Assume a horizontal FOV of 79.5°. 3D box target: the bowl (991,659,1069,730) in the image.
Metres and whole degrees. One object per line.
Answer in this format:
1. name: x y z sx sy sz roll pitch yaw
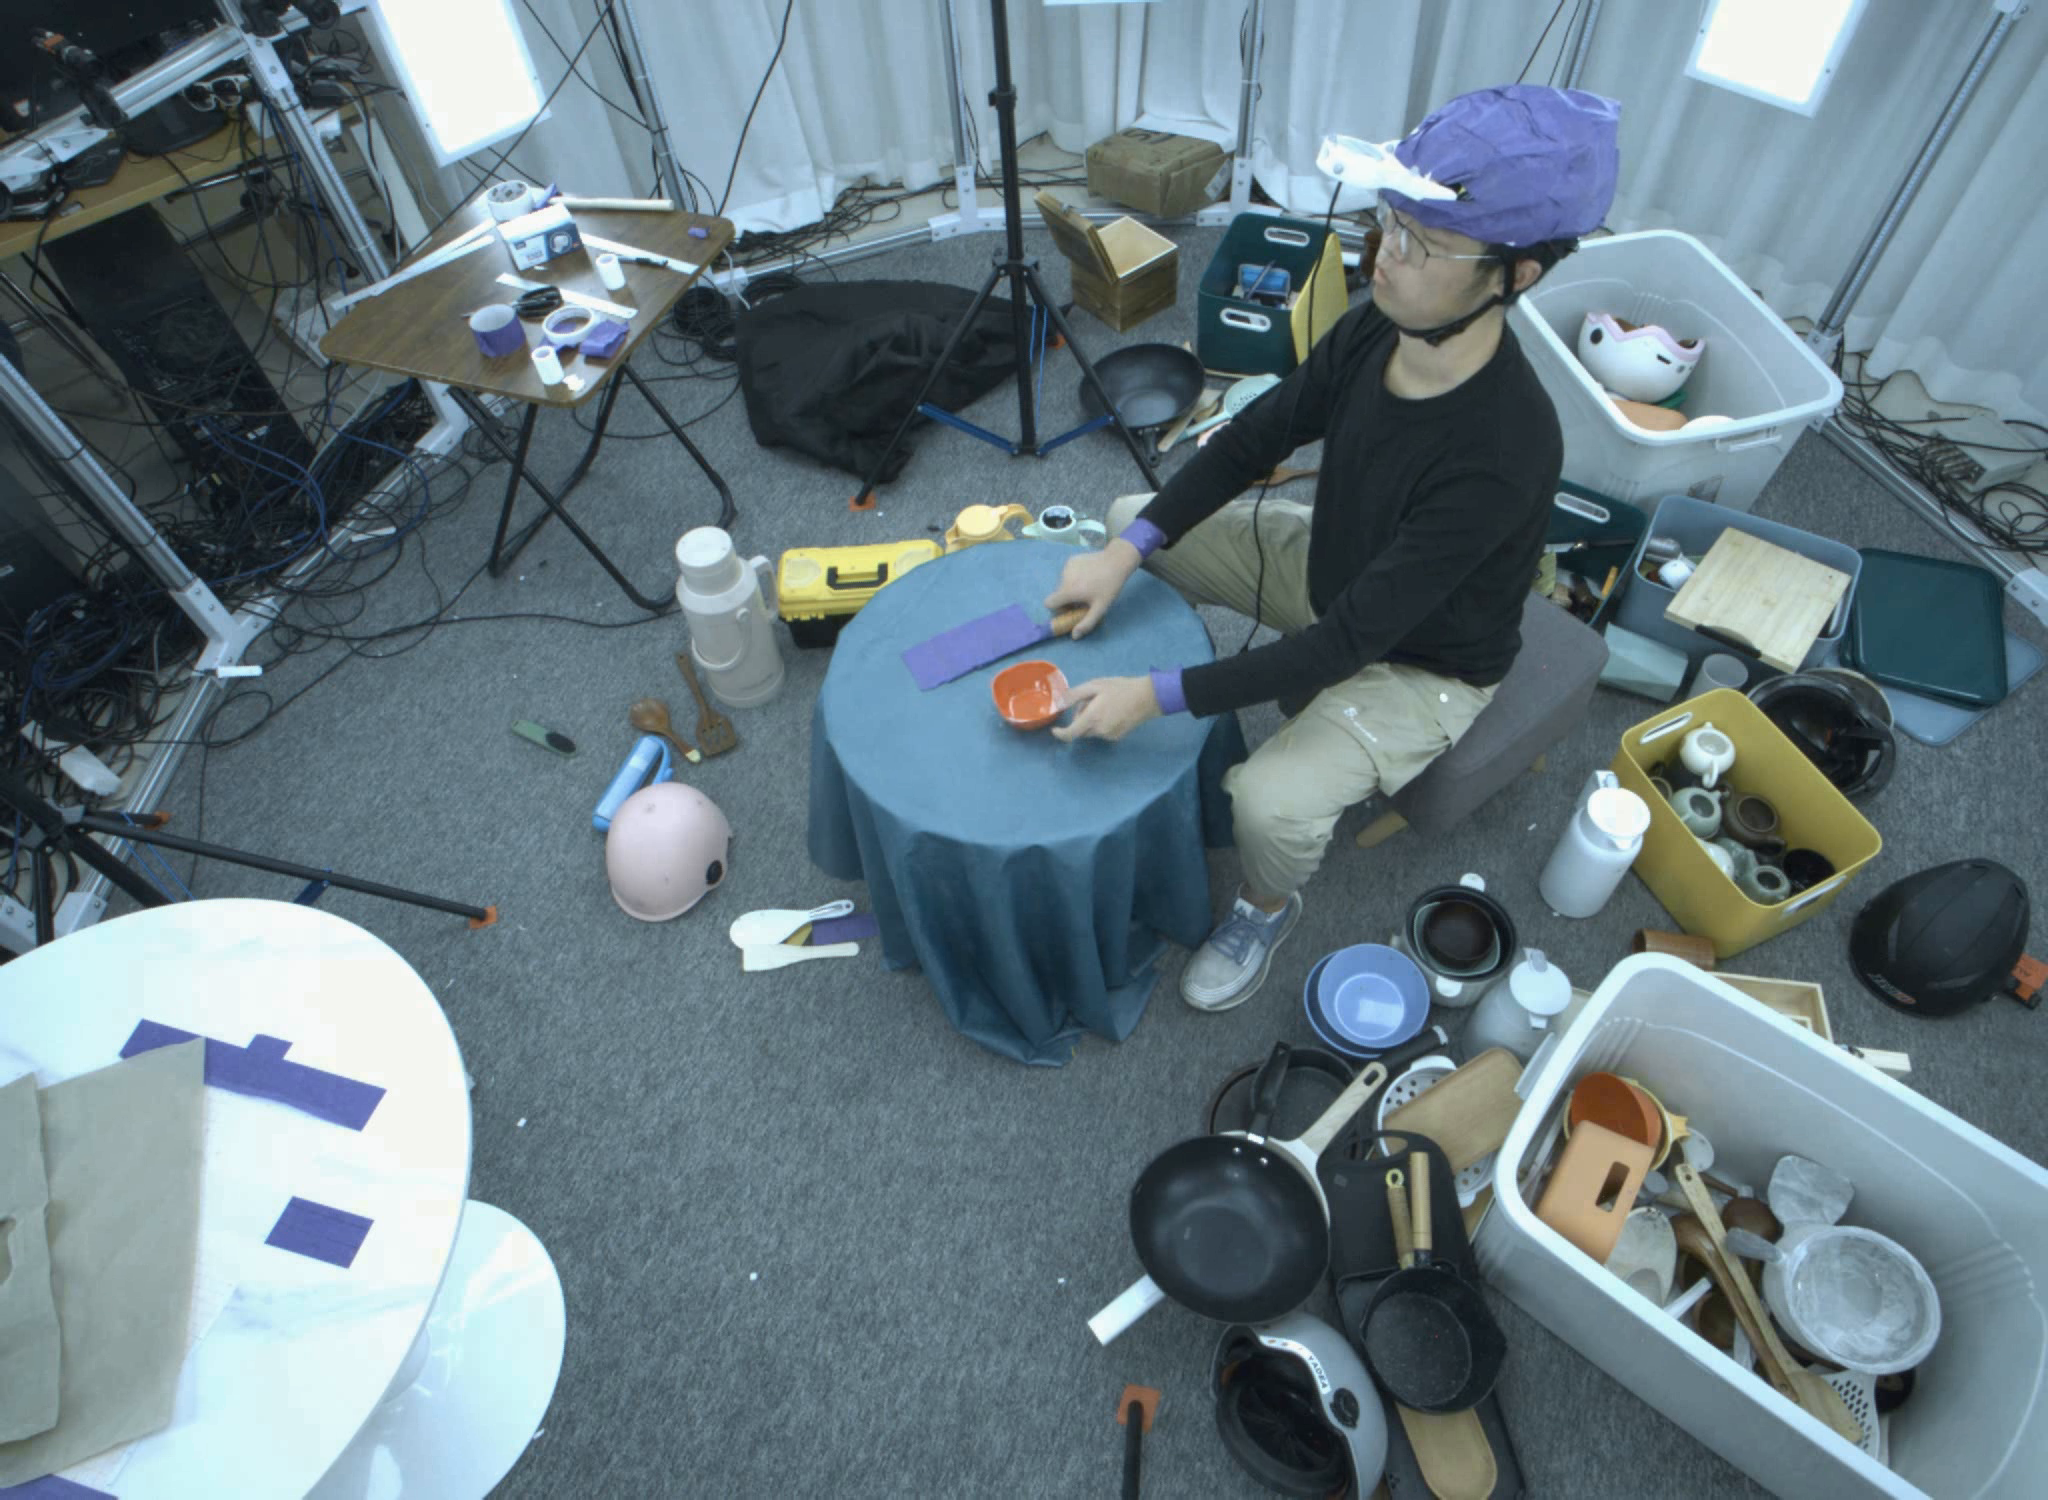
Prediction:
1. bowl: 0.011 -0.074 1.801 0.118 0.052 0.117 -2 54 4

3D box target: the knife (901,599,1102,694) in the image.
1. knife: -0.037 -0.183 1.899 0.317 0.032 0.102 -24 57 -14
